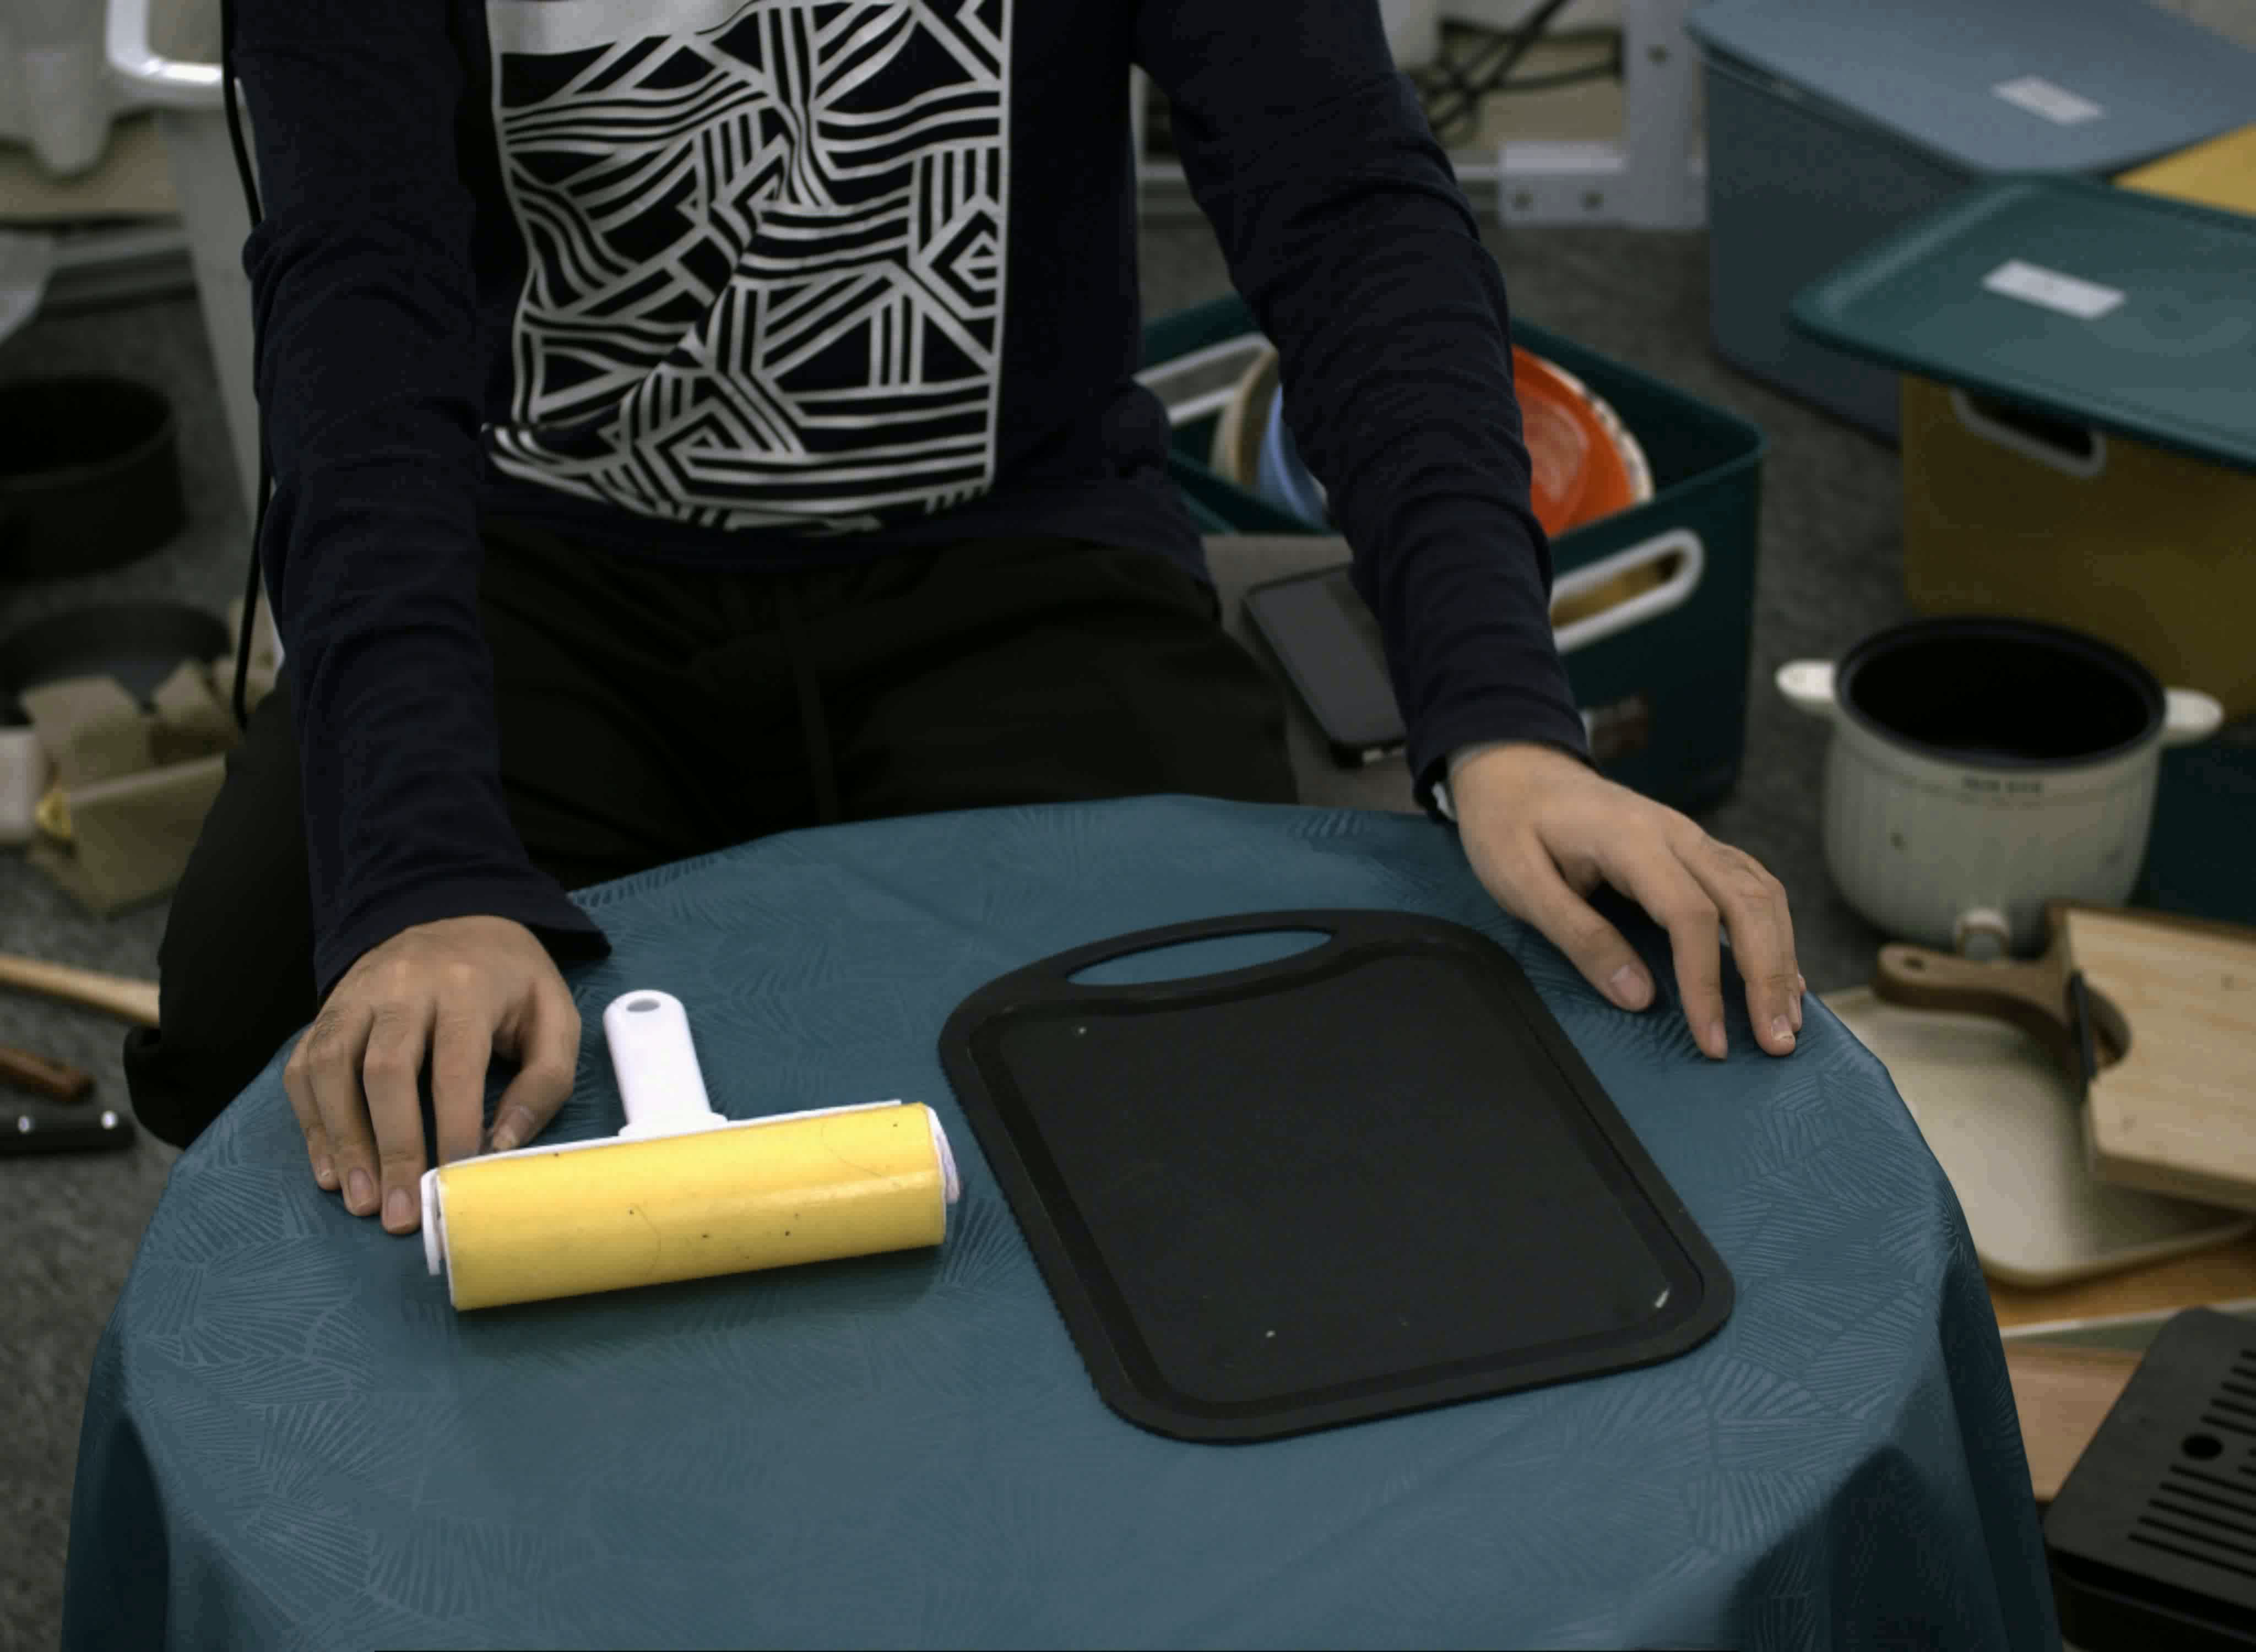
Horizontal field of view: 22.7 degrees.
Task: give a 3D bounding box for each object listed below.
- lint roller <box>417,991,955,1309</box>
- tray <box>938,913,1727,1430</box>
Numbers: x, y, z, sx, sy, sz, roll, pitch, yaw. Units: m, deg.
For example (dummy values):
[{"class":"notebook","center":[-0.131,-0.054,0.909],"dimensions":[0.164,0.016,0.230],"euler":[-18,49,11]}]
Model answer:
[{"class":"lint roller","center":[-0.158,0.091,1.882],"dimensions":[0.174,0.051,0.194],"euler":[-7,30,-10]},{"class":"tray","center":[0.059,0.106,1.880],"dimensions":[0.211,0.009,0.329],"euler":[-9,27,-12]}]
